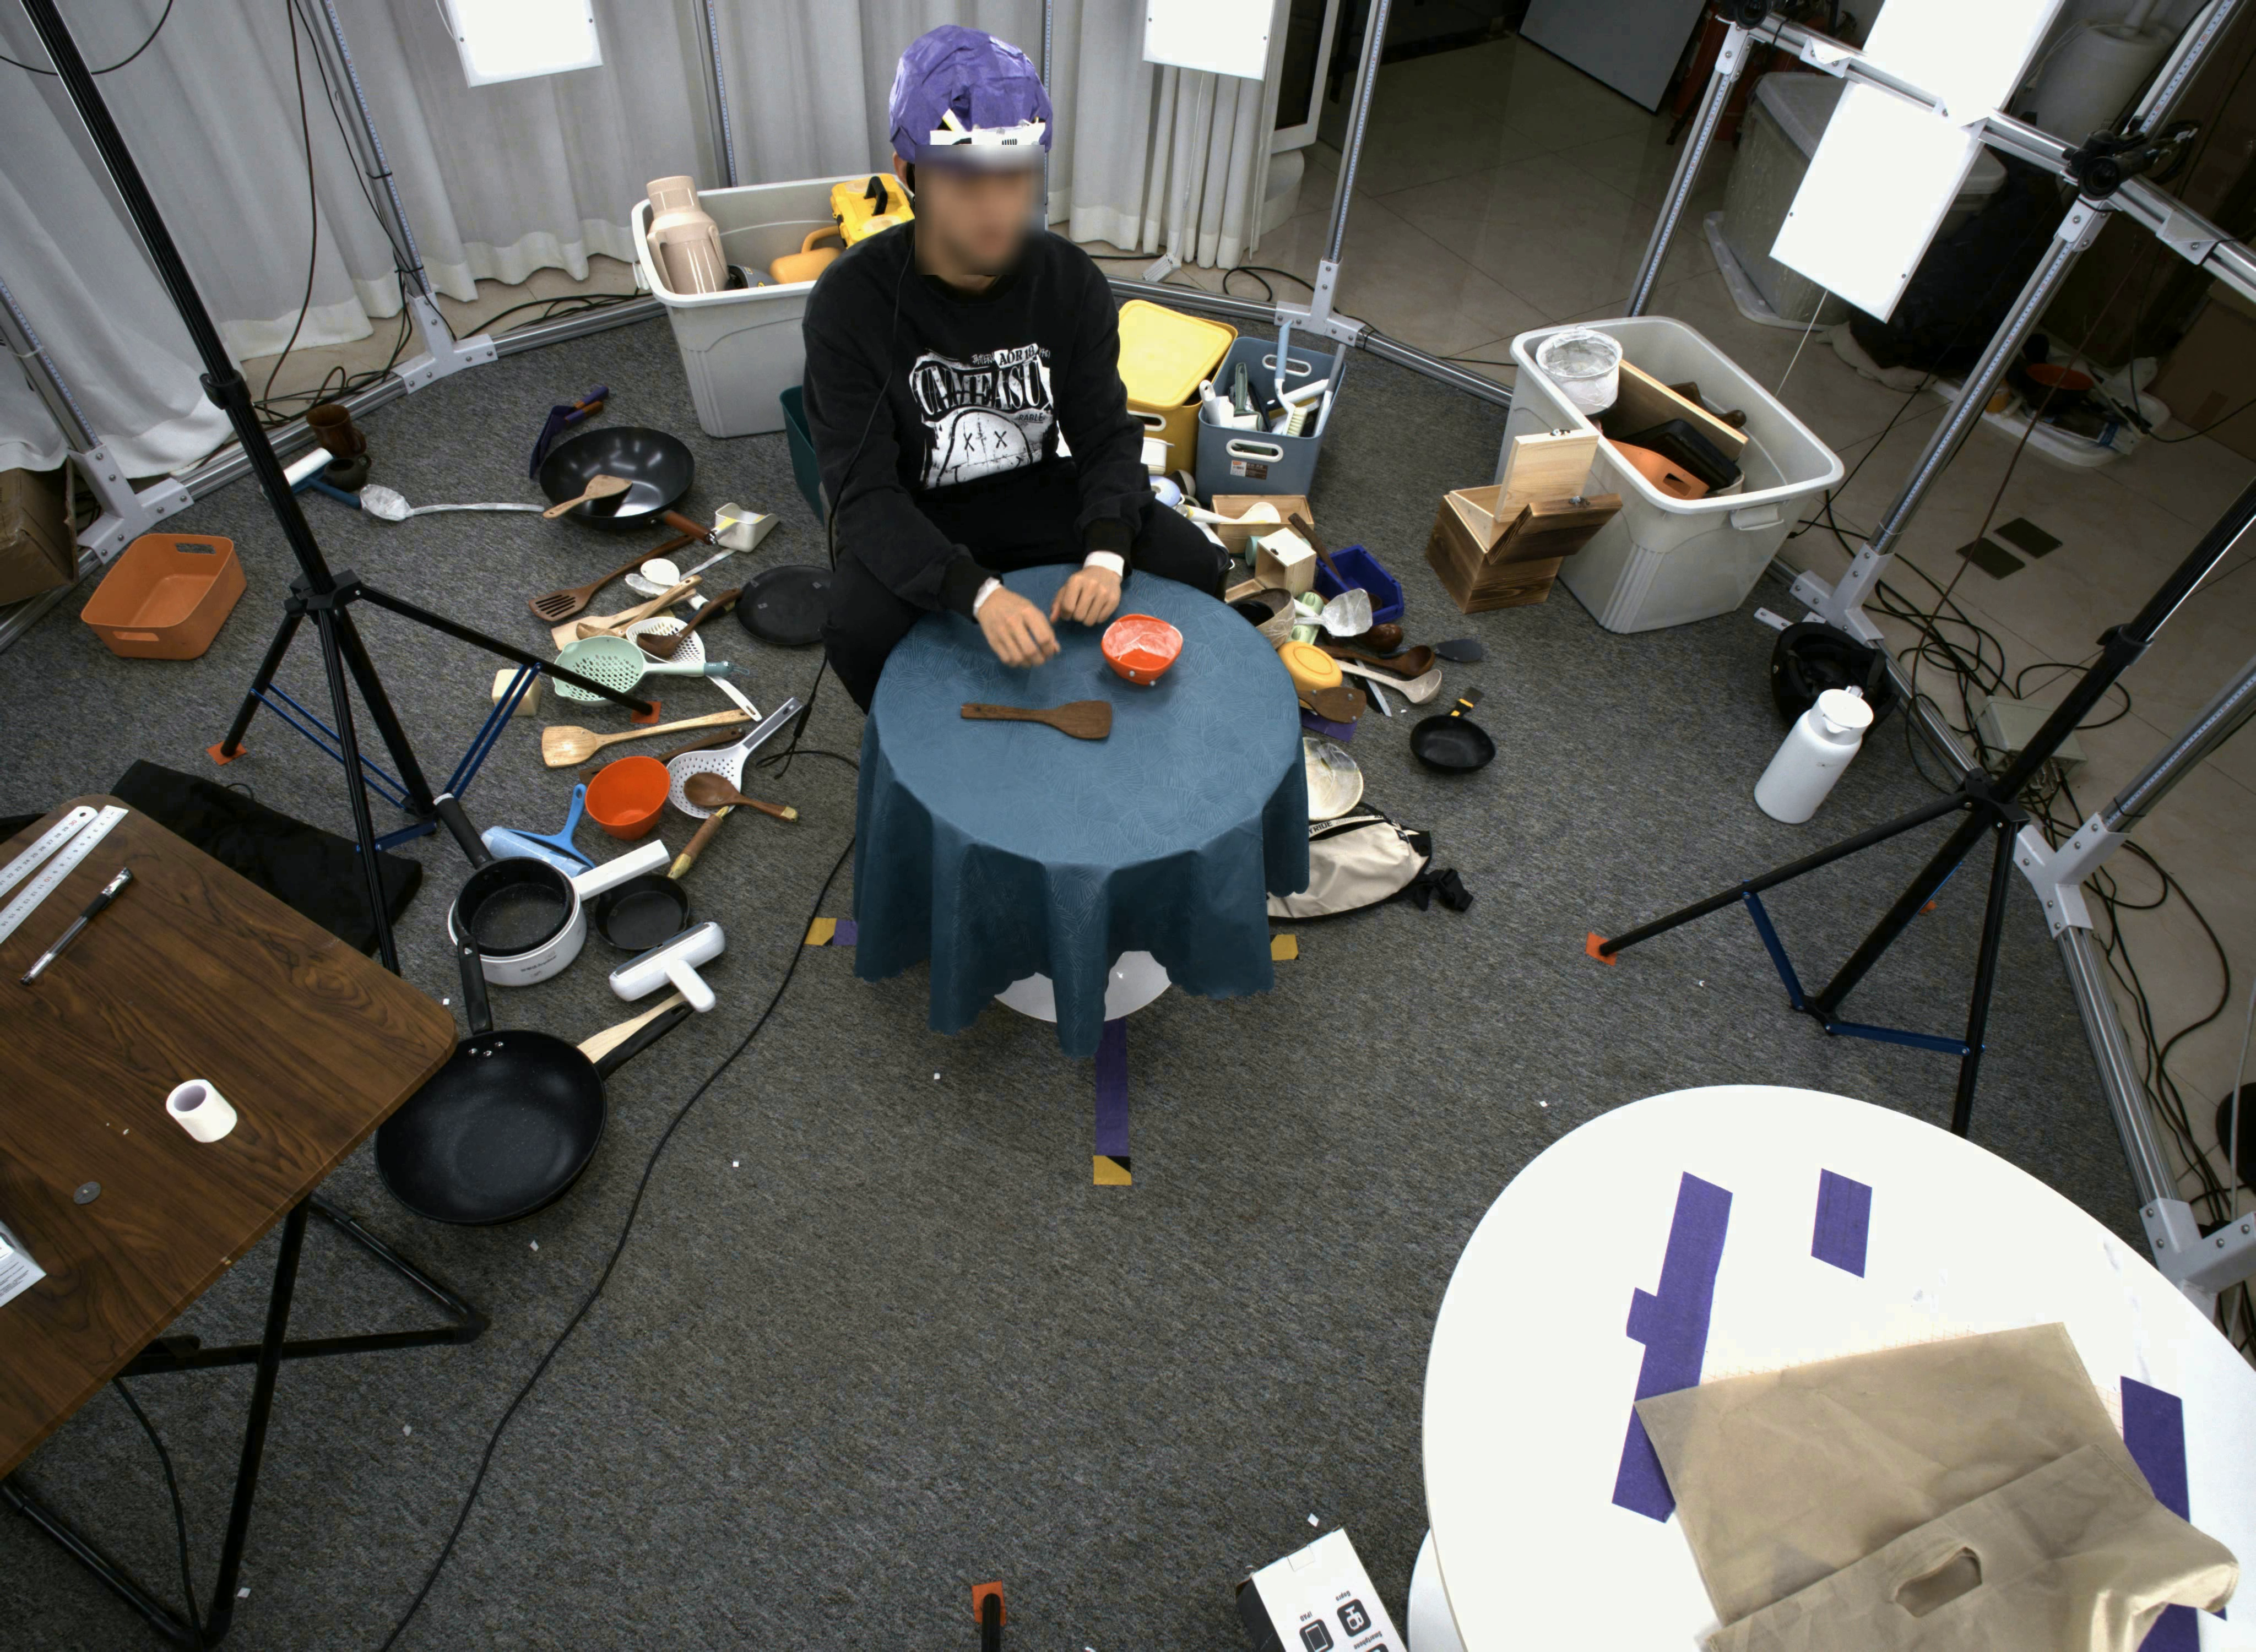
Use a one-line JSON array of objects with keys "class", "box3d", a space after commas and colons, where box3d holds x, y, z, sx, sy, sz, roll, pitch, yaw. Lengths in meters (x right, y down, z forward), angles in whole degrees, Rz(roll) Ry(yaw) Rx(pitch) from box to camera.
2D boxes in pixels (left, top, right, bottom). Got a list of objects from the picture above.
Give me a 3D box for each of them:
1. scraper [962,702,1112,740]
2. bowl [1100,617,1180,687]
[{"class": "scraper", "box3d": [-0.127, -0.154, 1.804, 0.211, 0.010, 0.078, 4, 48, 0]}, {"class": "bowl", "box3d": [0.017, -0.247, 1.873, 0.119, 0.050, 0.122, 0, 51, 0]}]
